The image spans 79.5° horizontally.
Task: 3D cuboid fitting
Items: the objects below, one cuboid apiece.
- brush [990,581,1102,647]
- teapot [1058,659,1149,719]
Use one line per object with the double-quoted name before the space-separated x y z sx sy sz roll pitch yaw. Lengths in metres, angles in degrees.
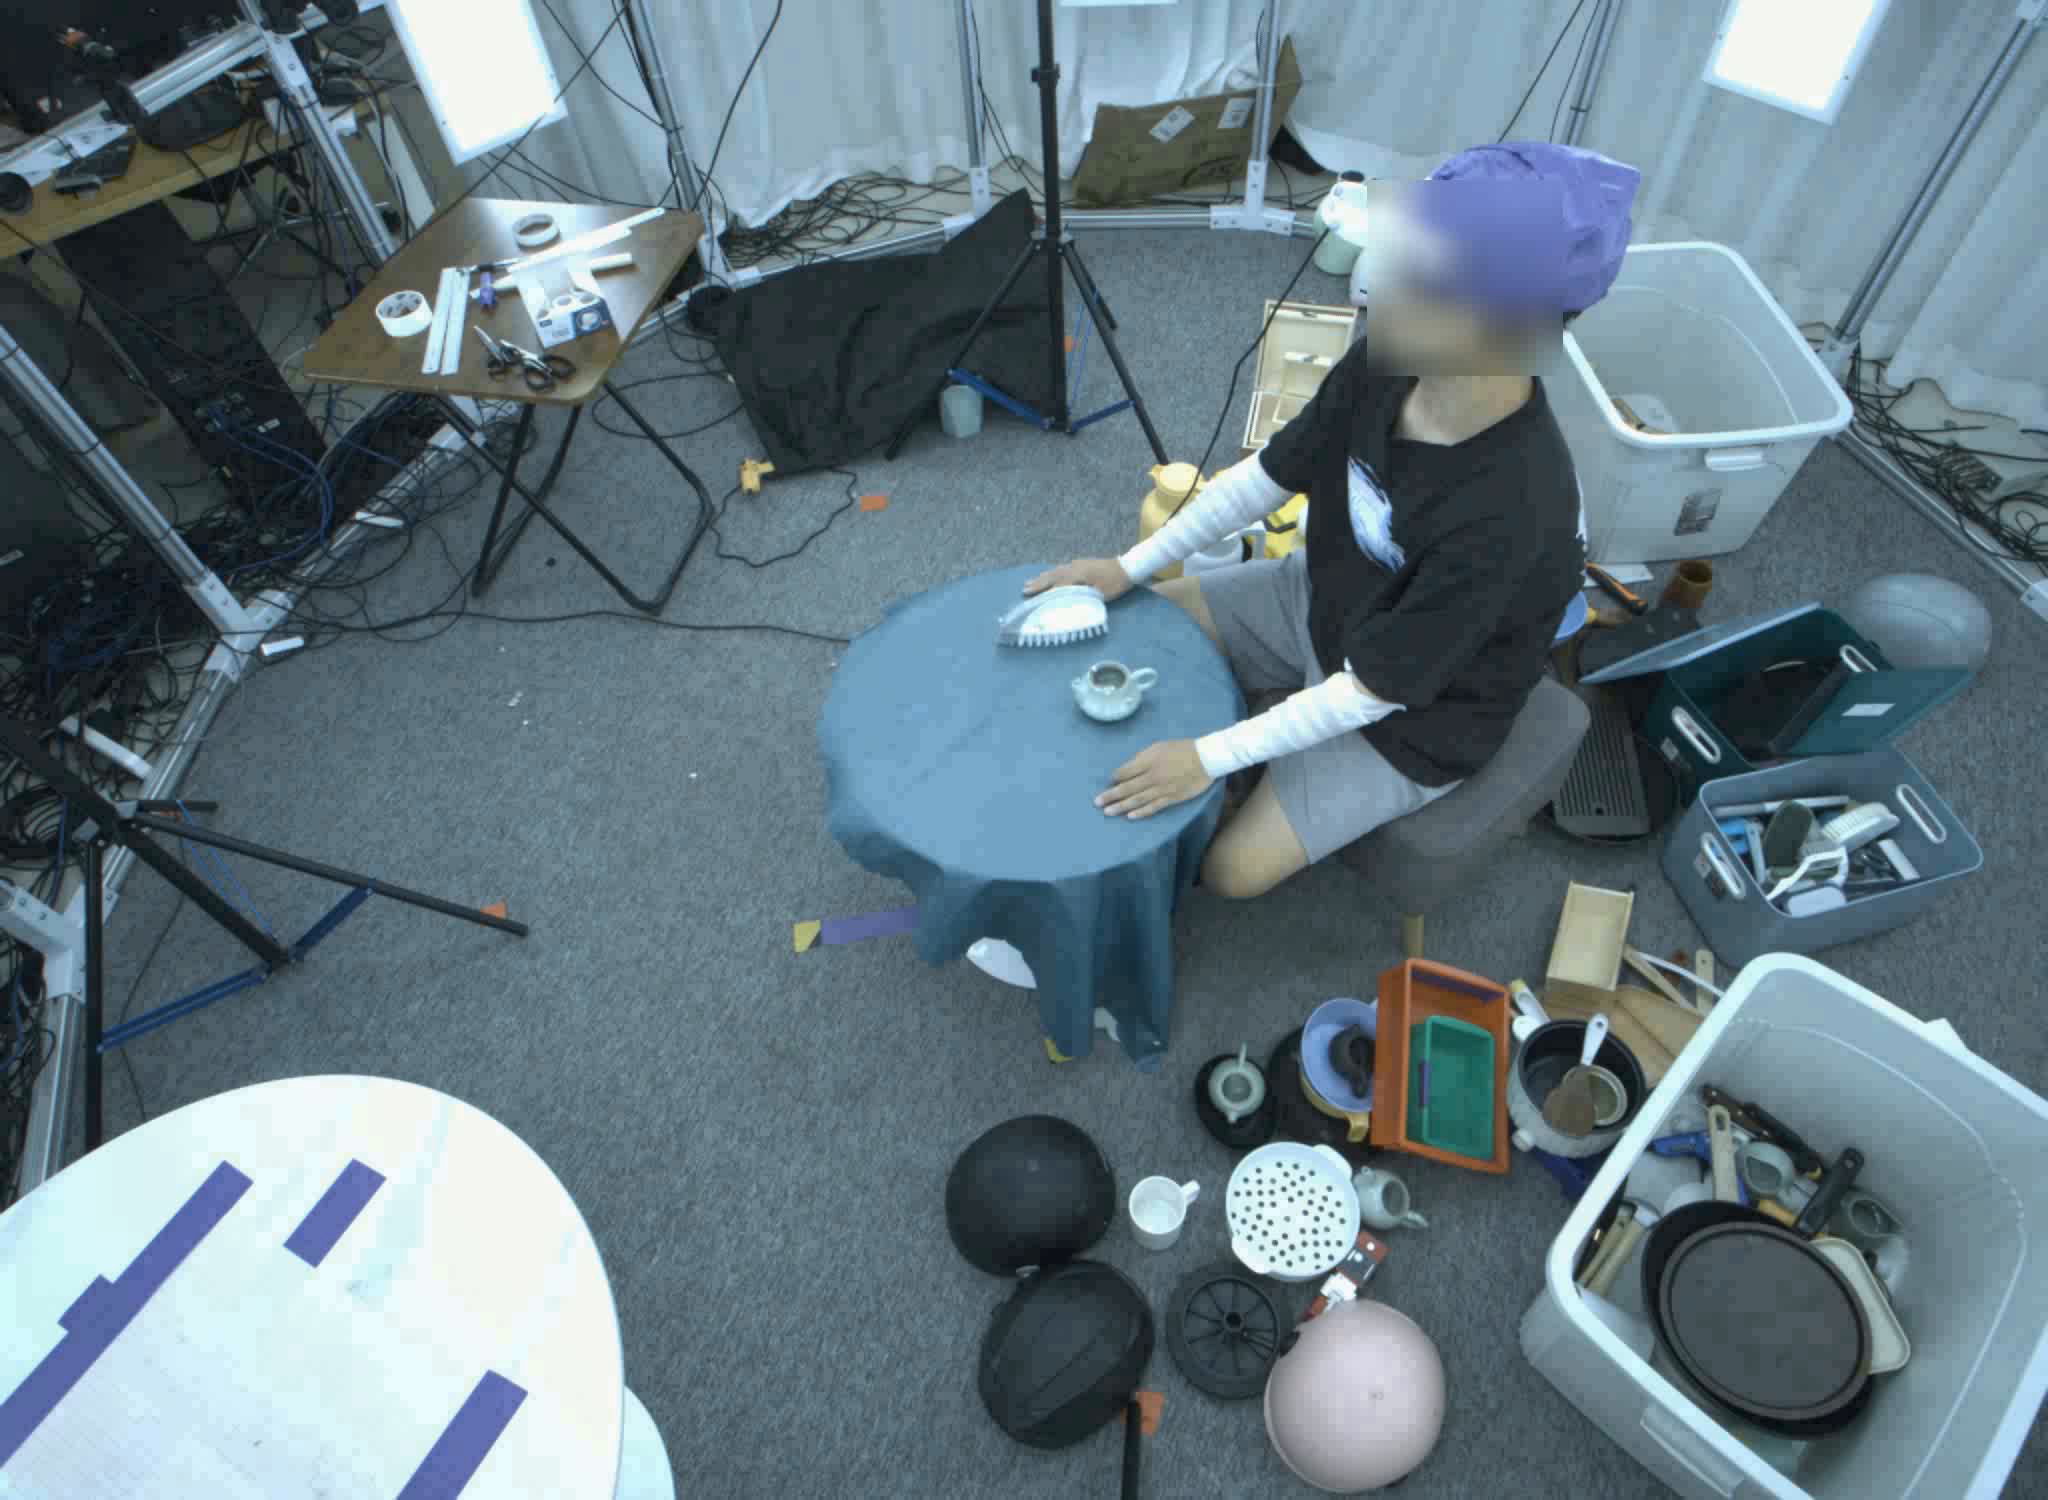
"brush" 0.029 -0.209 1.871 0.176 0.095 0.060 -13 51 -5
"teapot" 0.116 -0.093 1.804 0.137 0.062 0.094 -12 52 -6
